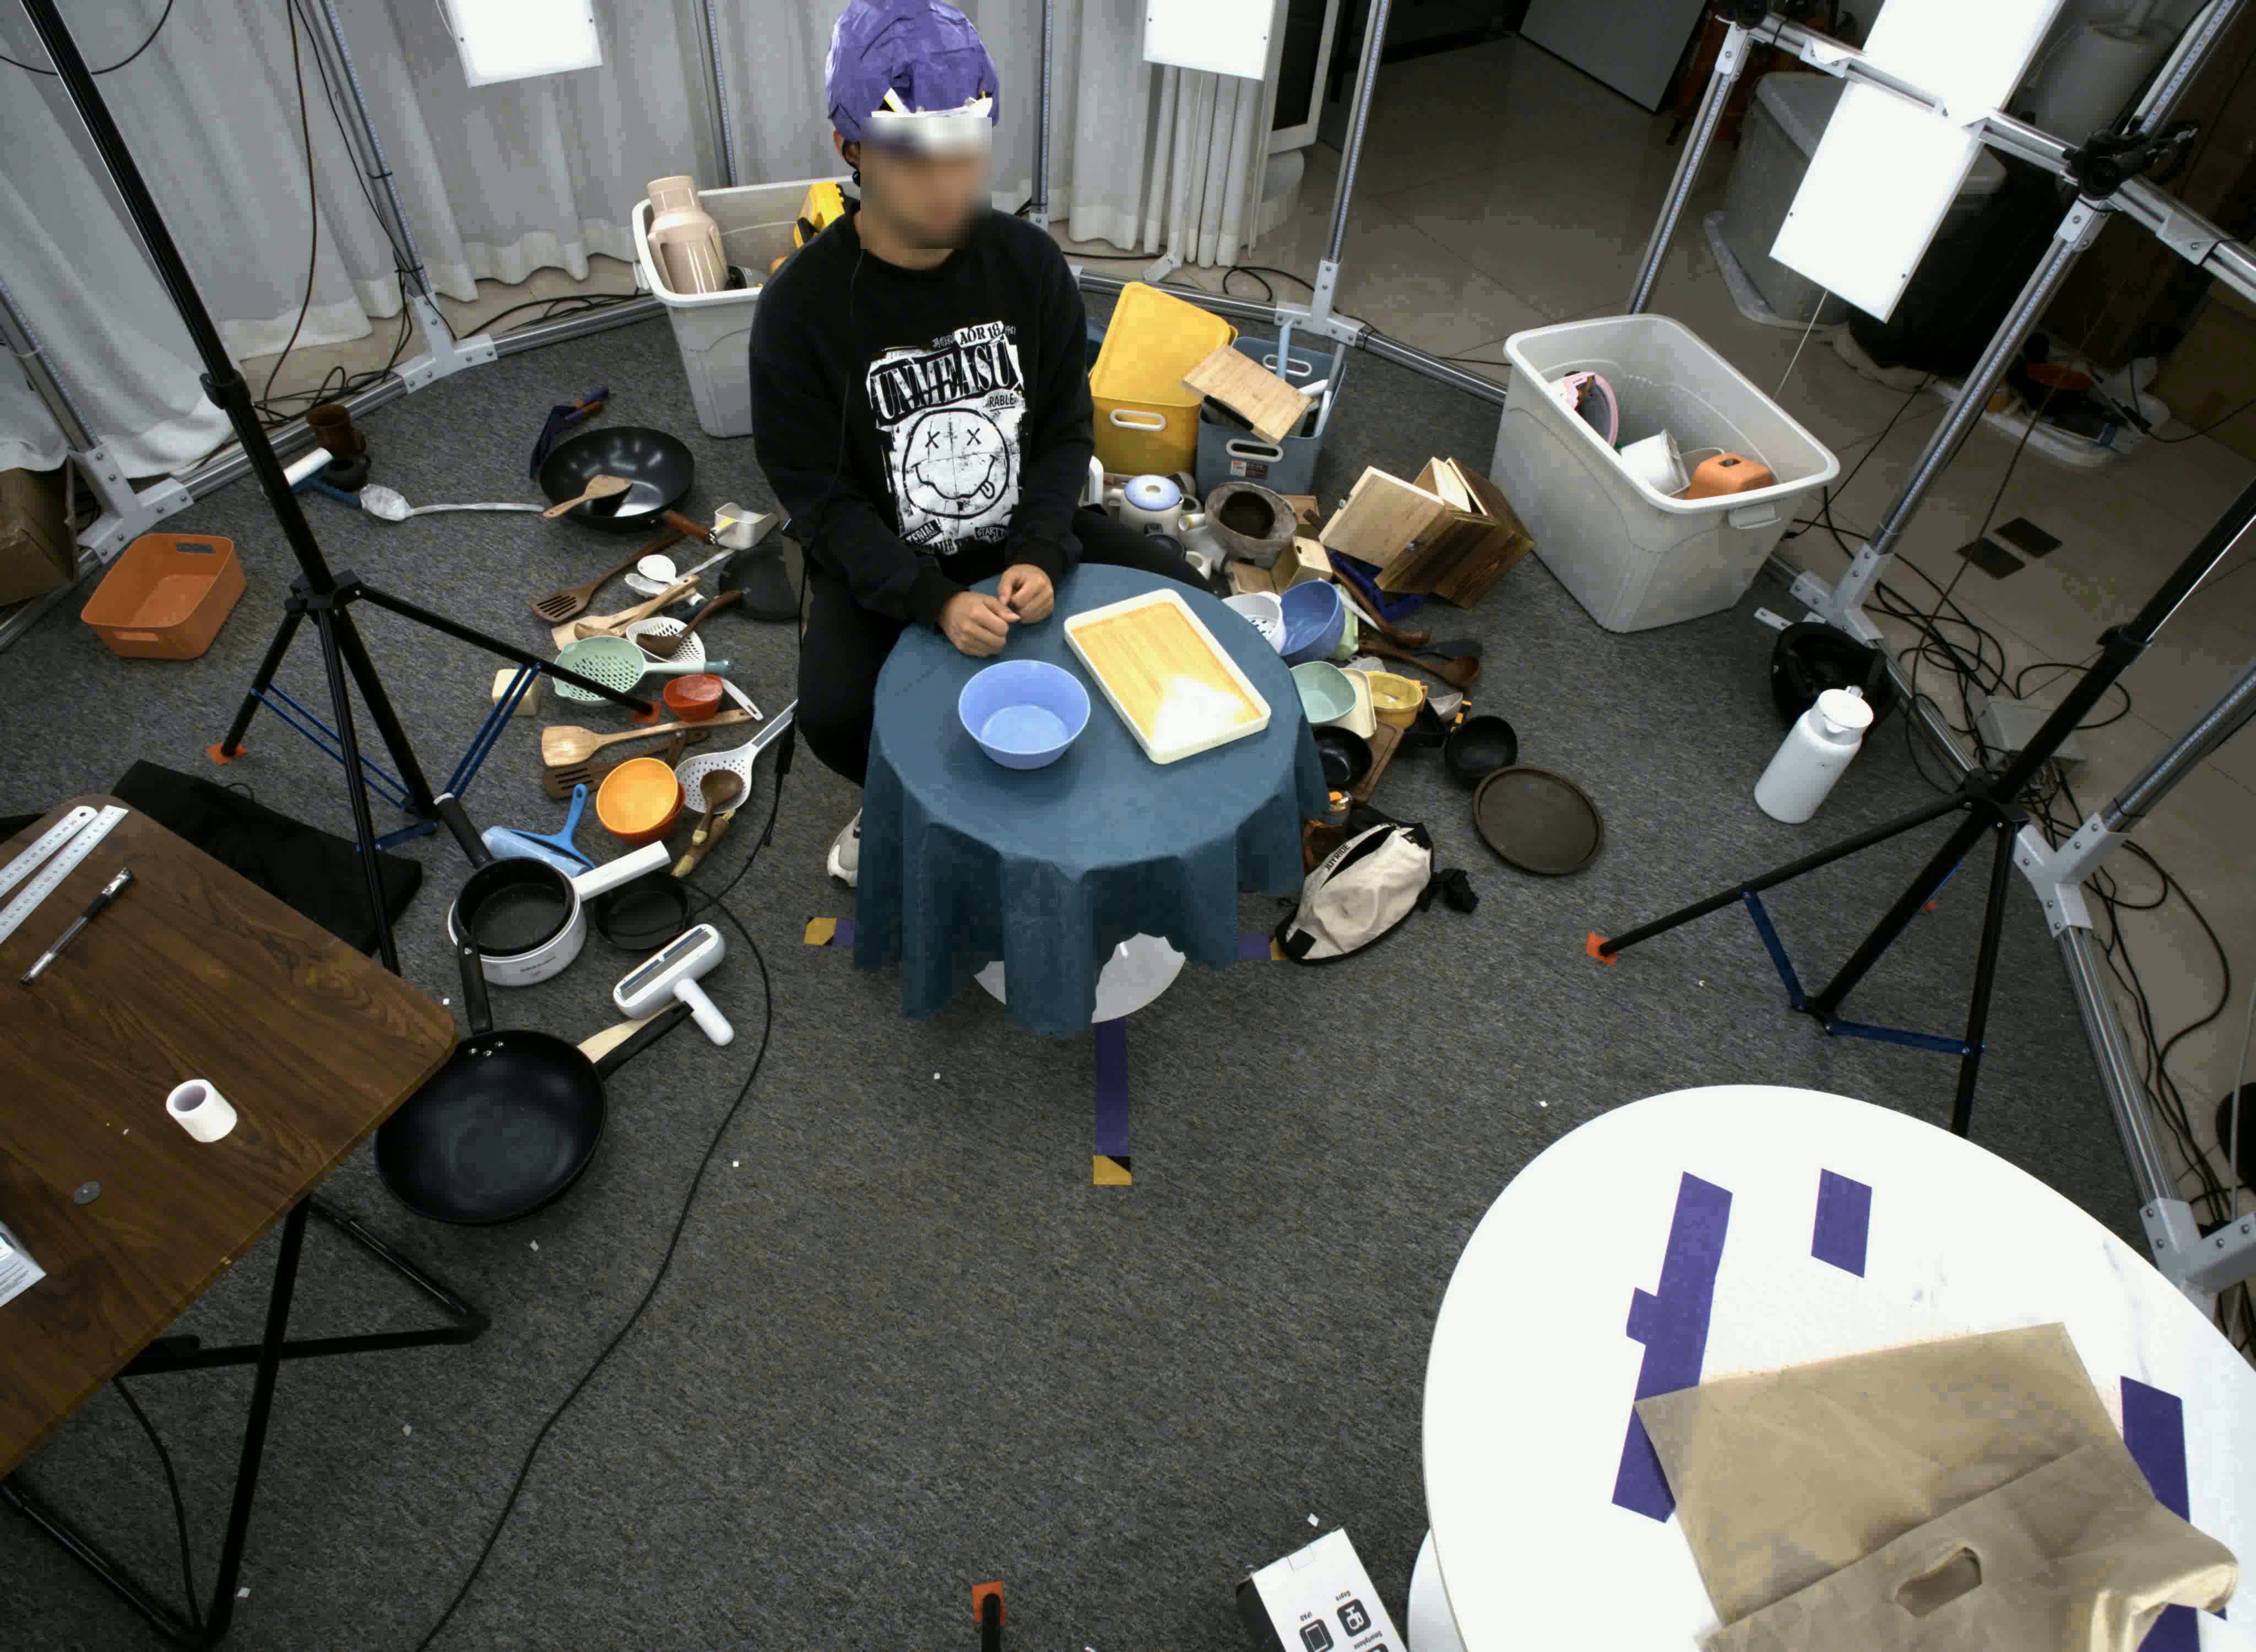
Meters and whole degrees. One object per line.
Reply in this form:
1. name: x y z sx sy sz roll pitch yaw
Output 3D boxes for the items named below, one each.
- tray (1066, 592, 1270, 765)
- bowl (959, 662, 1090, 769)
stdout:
1. tray: 0.054 -0.221 1.863 0.192 0.027 0.307 -19 53 -20
2. bowl: -0.141 -0.142 1.752 0.176 0.068 0.180 2 49 -3
